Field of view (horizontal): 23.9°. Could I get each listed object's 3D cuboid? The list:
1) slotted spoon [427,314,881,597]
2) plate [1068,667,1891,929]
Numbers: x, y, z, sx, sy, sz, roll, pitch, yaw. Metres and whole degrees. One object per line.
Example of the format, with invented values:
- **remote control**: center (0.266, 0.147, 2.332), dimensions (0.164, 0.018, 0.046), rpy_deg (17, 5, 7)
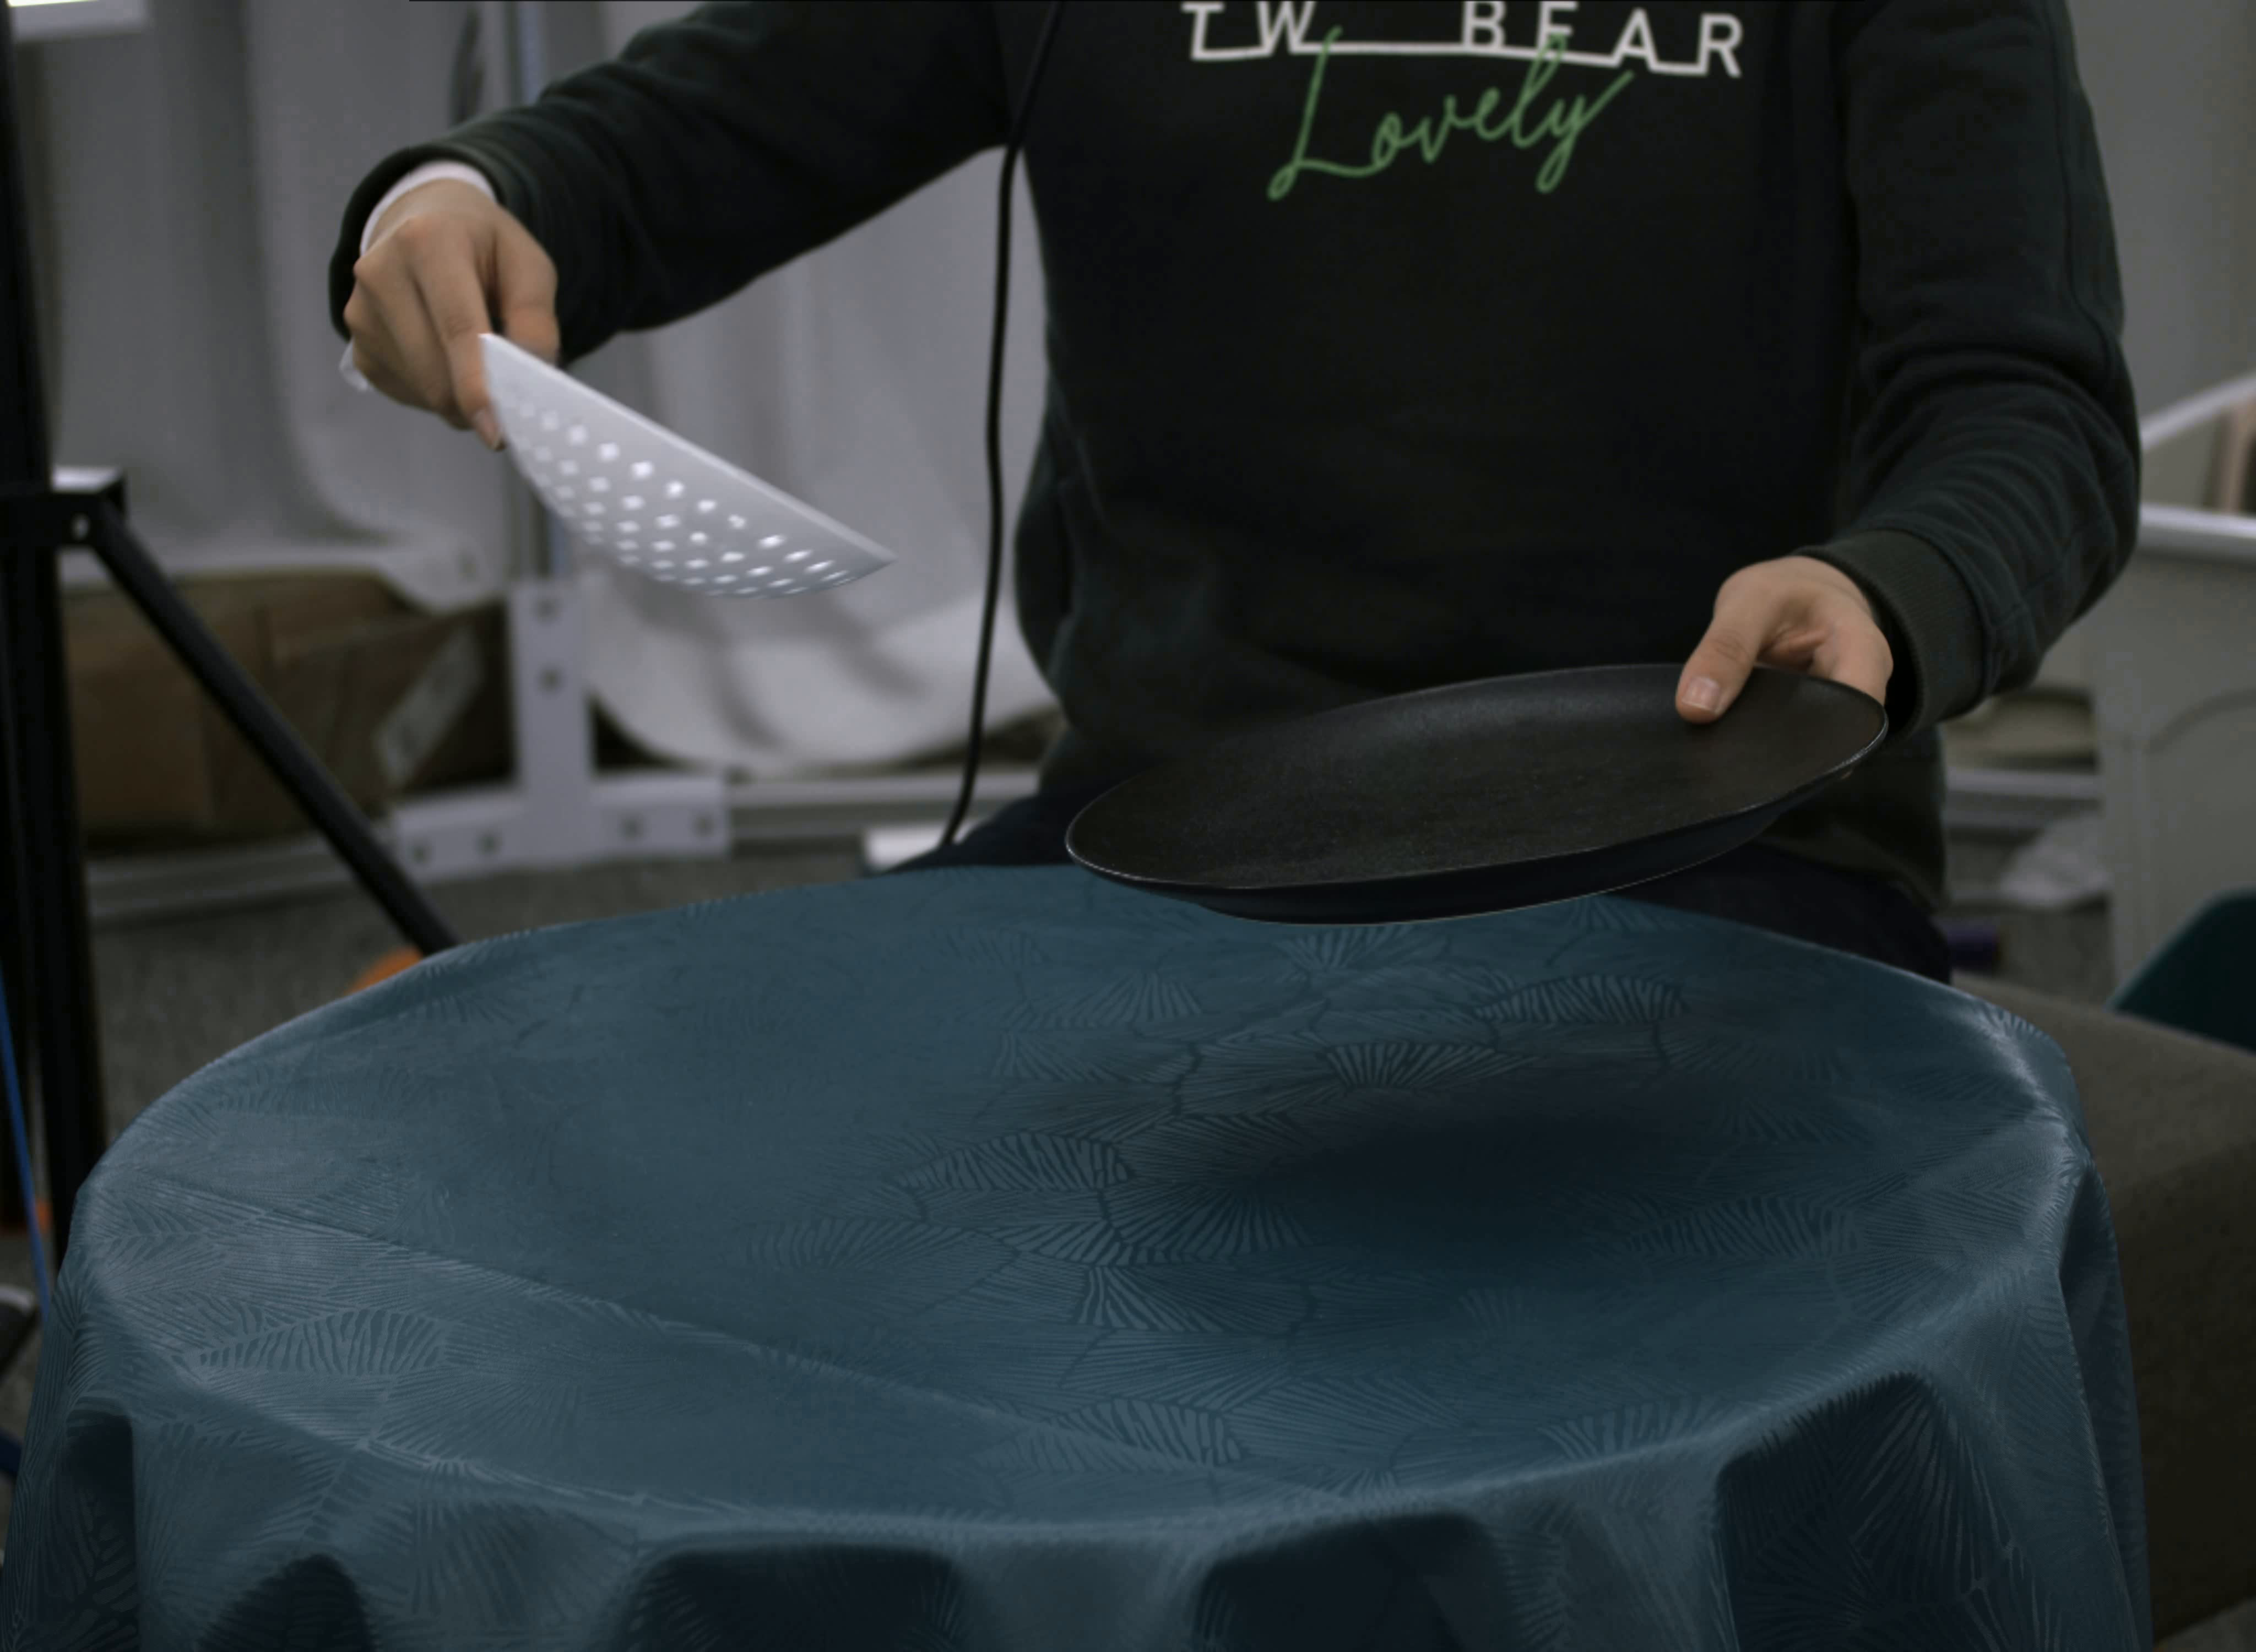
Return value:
- **slotted spoon**: center (-0.170, -0.128, 1.659), dimensions (0.133, 0.046, 0.355), rpy_deg (30, 5, -22)
- **plate**: center (0.104, -0.006, 1.559), dimensions (0.243, 0.023, 0.245), rpy_deg (-10, 13, 1)
